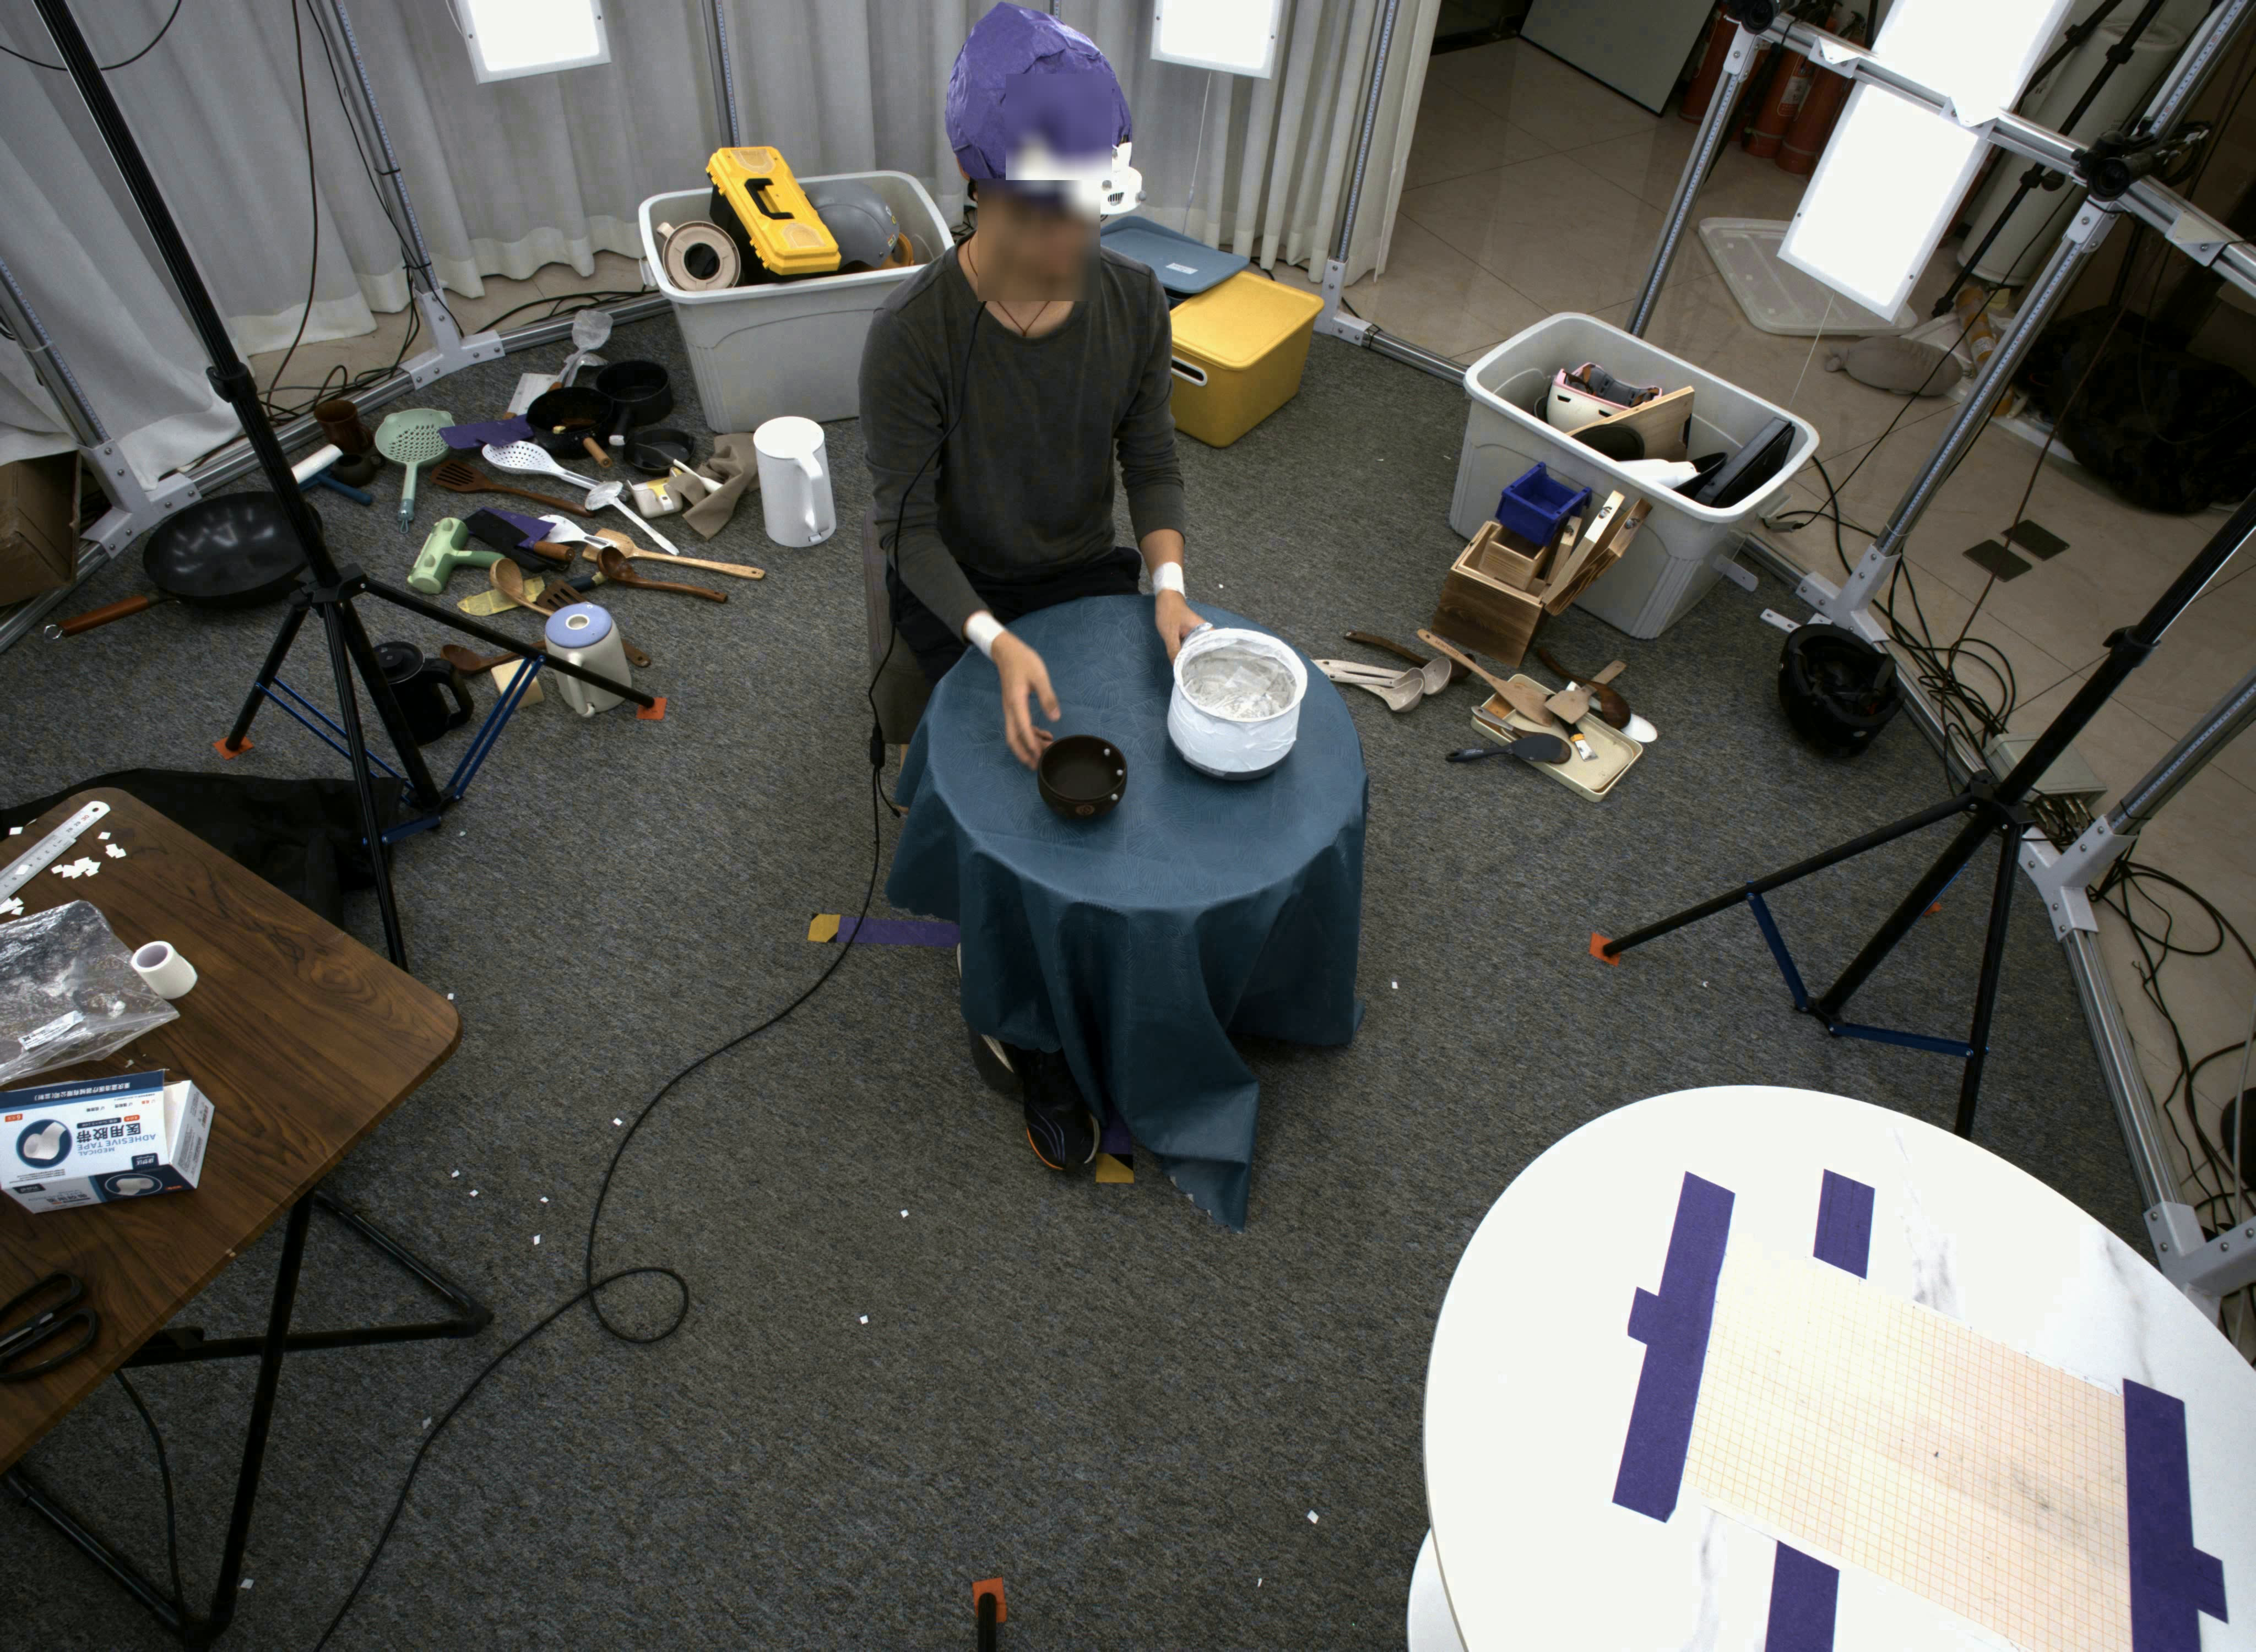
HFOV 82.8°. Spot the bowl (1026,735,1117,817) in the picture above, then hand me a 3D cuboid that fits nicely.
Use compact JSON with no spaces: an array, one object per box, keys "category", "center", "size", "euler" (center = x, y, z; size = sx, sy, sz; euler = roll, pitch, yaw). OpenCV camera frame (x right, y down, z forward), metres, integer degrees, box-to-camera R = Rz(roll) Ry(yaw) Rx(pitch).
[{"category":"bowl","center":[-0.073,-0.057,1.671],"size":[0.118,0.068,0.121],"euler":[0,43,0]}]

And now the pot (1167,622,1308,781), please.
[{"category":"pot","center":[0.132,-0.179,1.743],"size":[0.179,0.133,0.239],"euler":[-18,52,-19]}]
